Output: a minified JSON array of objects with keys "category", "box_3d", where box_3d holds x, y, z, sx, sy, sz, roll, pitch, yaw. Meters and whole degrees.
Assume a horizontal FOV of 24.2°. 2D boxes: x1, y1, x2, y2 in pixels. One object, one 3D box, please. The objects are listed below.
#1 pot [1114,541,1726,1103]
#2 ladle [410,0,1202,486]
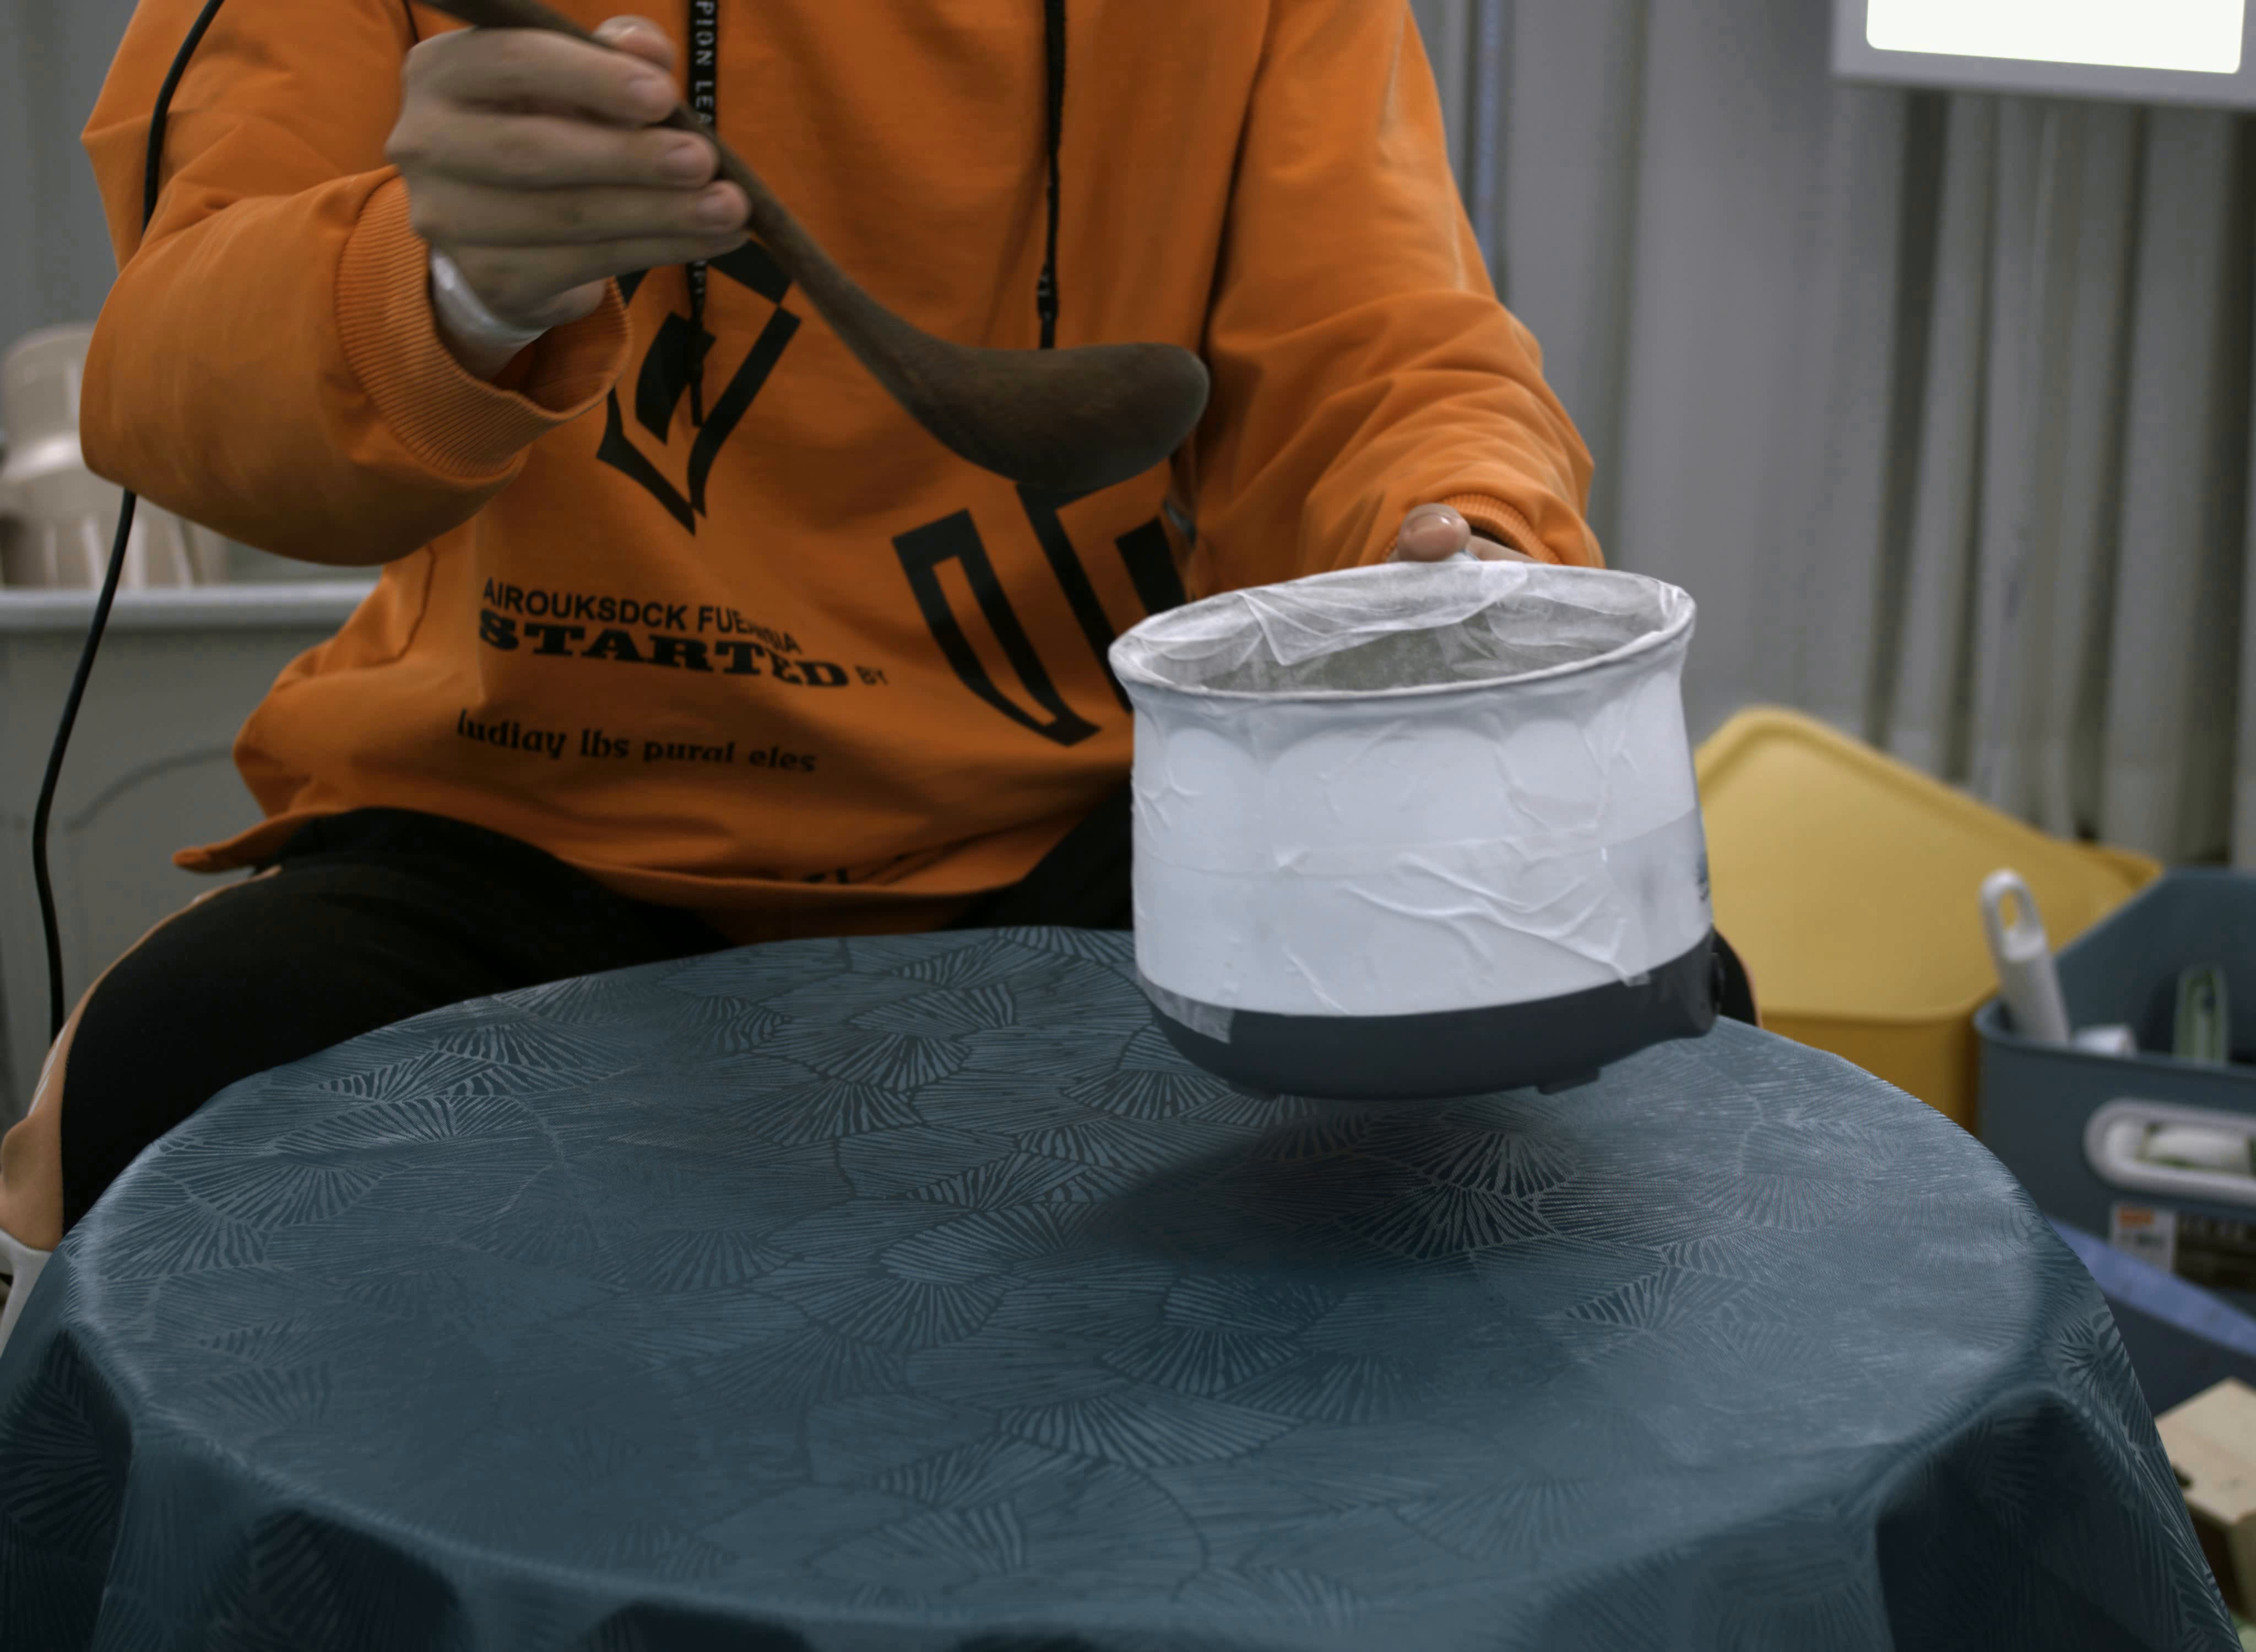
[{"category":"pot","box_3d":[0.093,-0.006,1.620,0.177,0.138,0.233,-2,15,10]},{"category":"ladle","box_3d":[-0.100,-0.193,1.527,0.273,0.076,0.071,40,67,5]}]
